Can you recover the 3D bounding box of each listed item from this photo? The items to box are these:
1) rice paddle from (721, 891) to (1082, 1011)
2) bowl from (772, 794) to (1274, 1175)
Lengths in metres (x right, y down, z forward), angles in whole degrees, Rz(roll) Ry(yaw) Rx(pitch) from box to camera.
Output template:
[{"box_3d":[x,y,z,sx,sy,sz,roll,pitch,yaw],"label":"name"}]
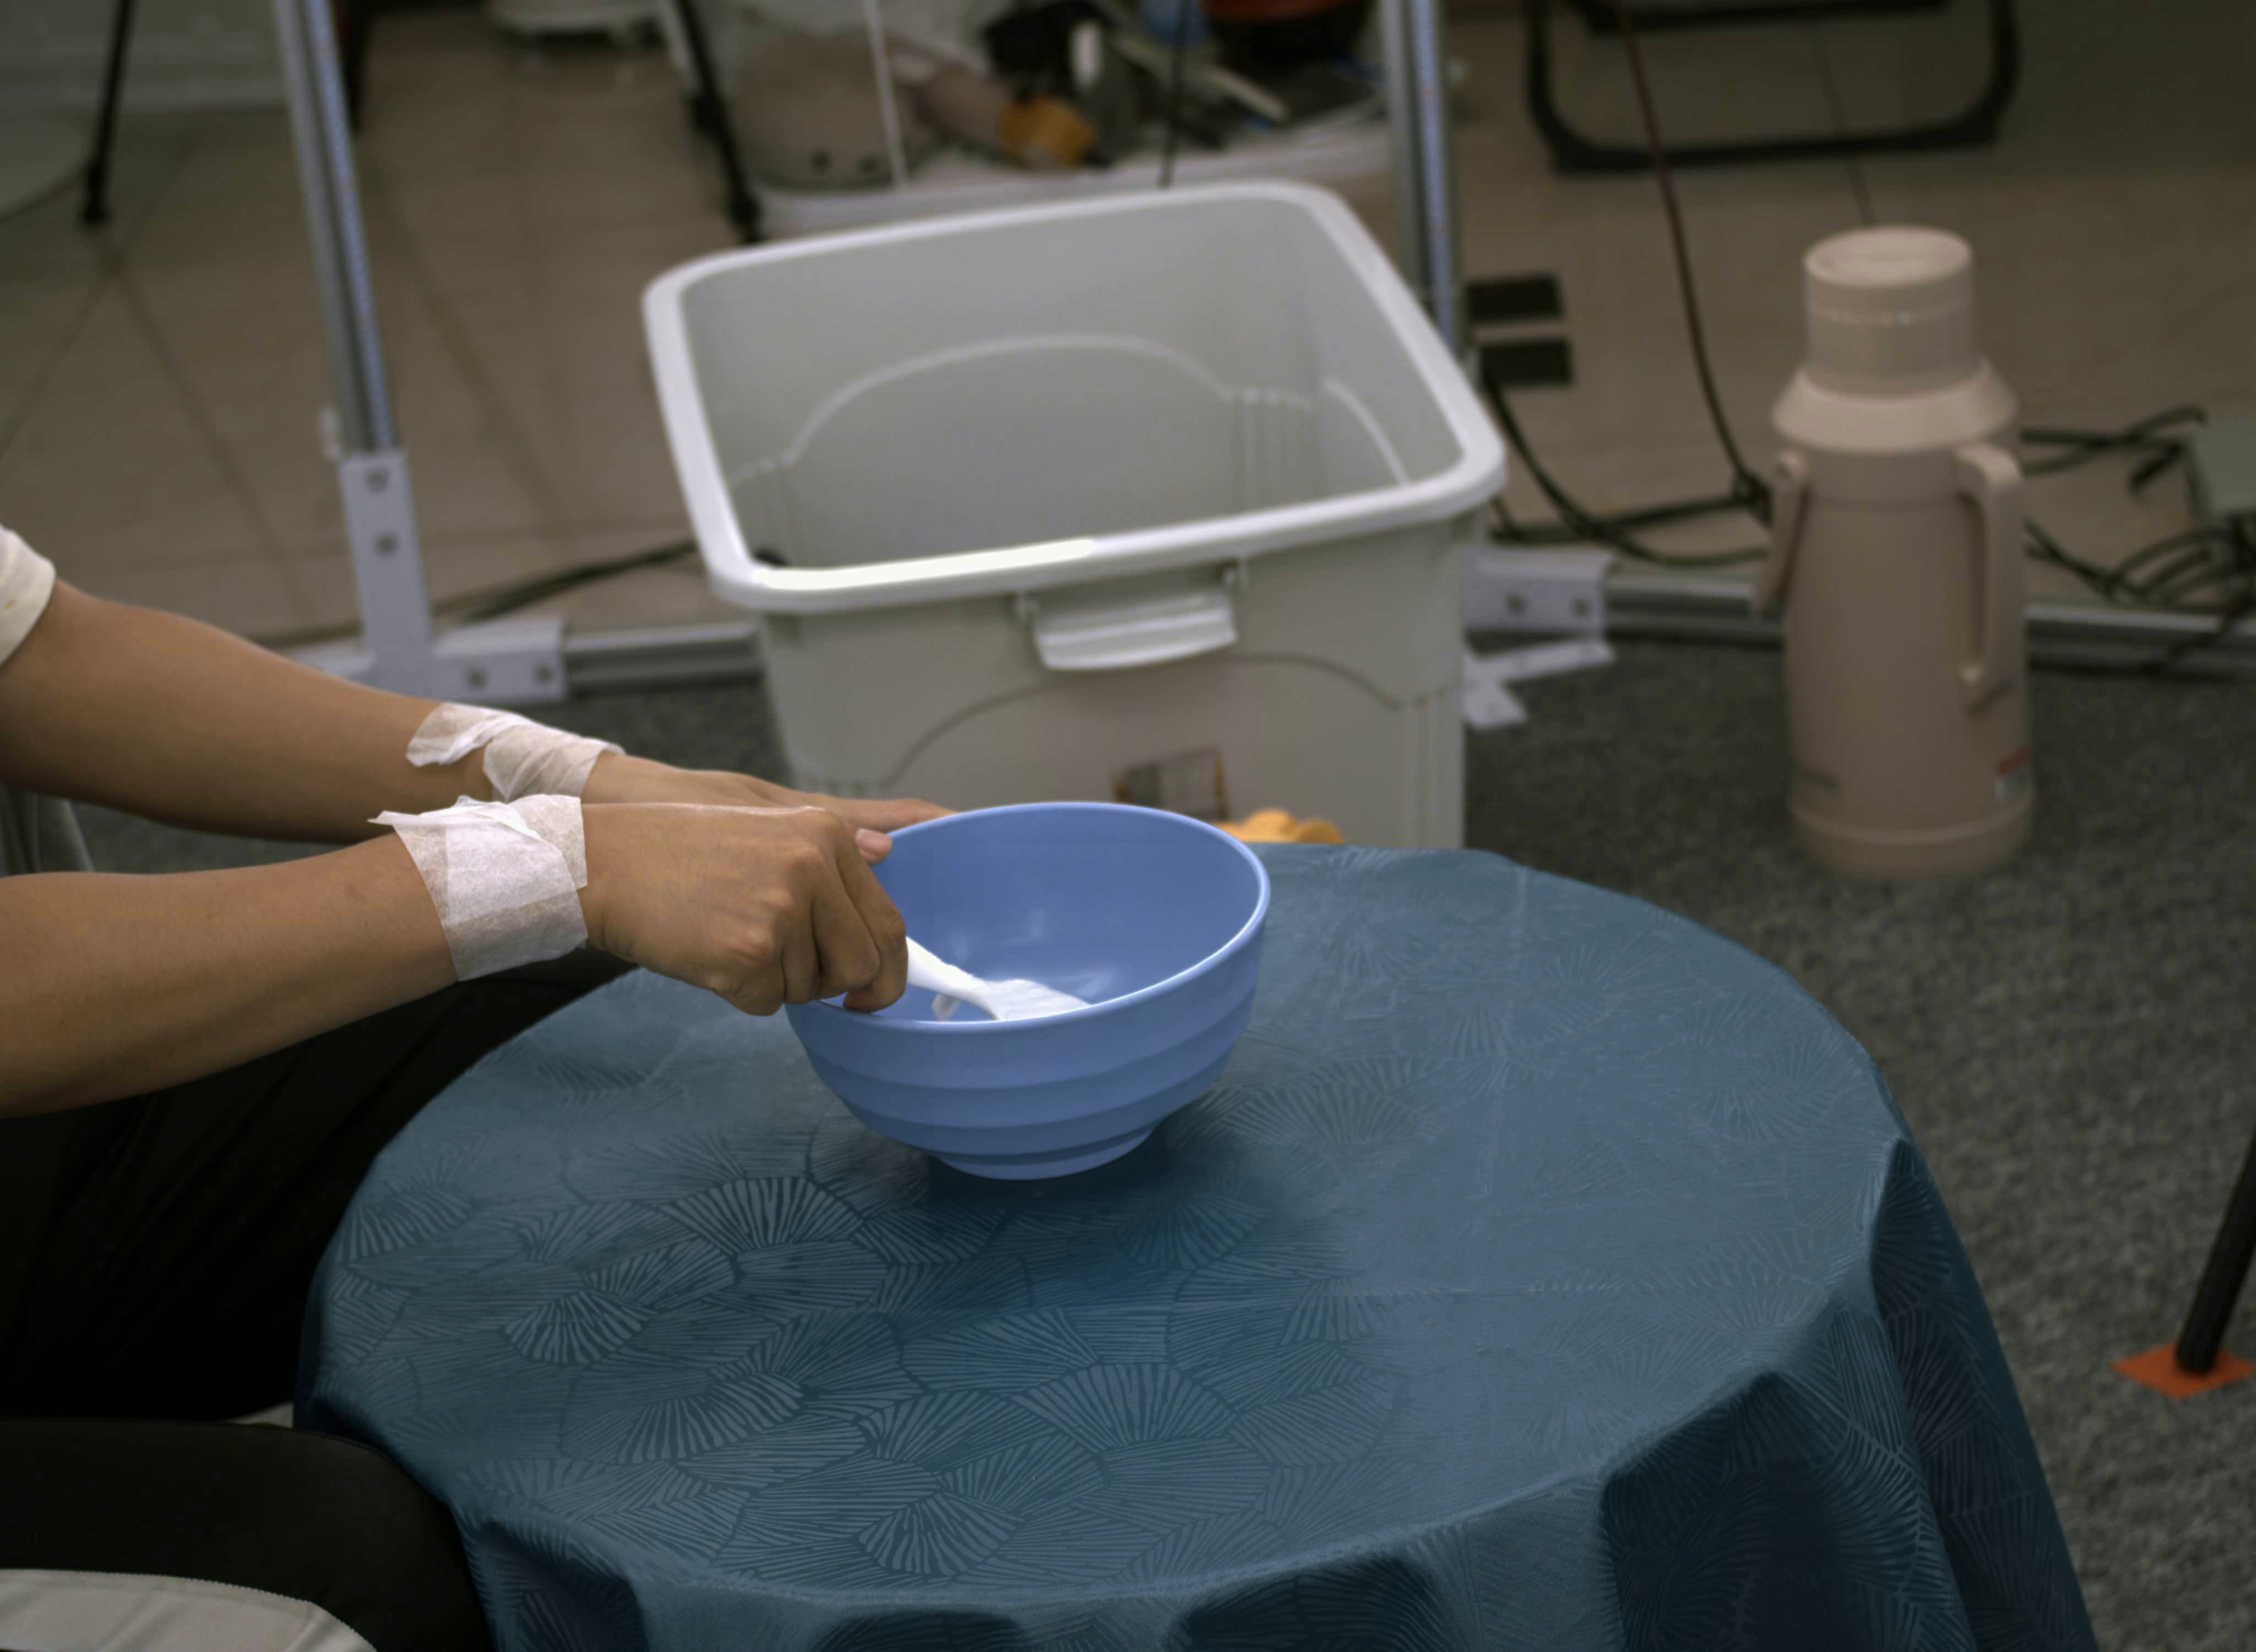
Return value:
[{"box_3d":[-0.063,0.062,2.147,0.206,0.029,0.068,18,15,-37],"label":"rice paddle"},{"box_3d":[-0.039,0.072,2.187,0.196,0.097,0.193,-4,26,2],"label":"bowl"}]
